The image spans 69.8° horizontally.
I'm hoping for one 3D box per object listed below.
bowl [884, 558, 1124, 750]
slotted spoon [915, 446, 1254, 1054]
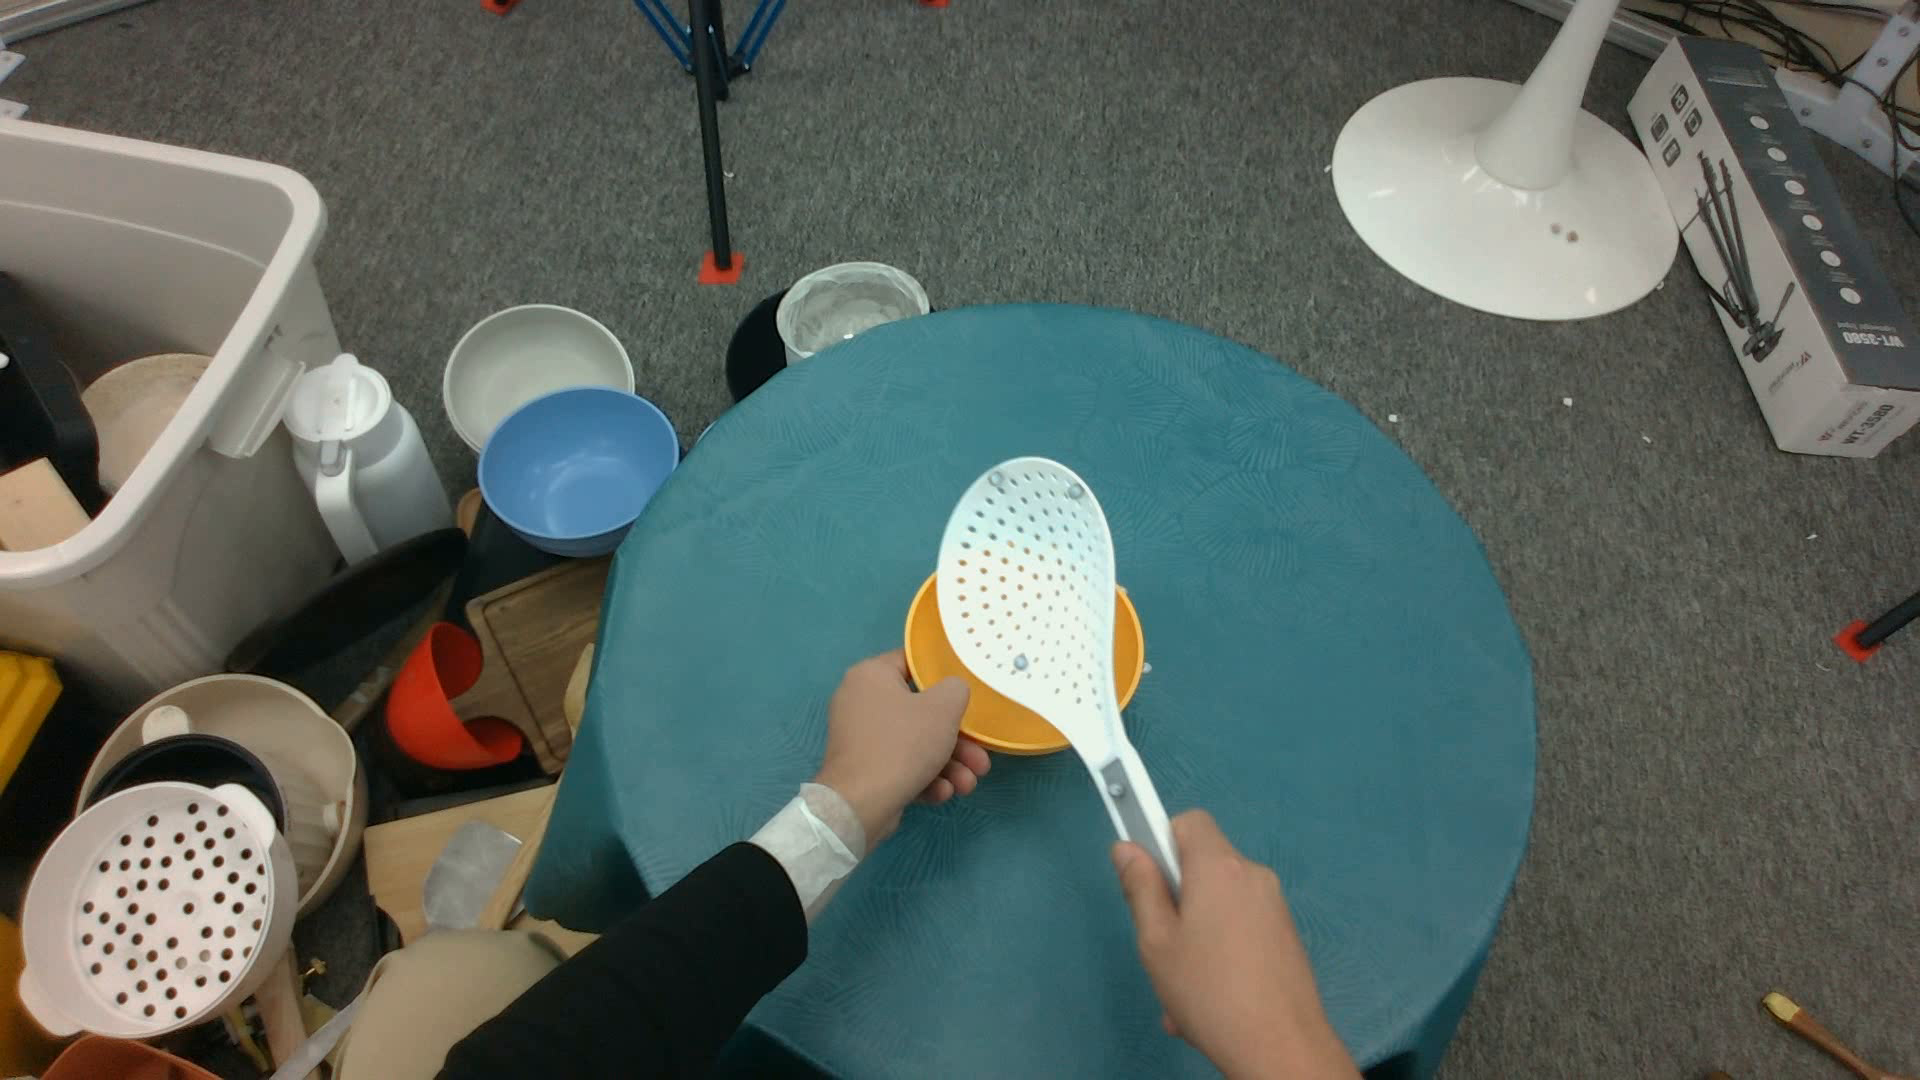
[{"bbox_3d":[0.025,0.073,0.843,0.145,0.060,0.146,2,53,-2],"label":"bowl"},{"bbox_3d":[0.067,0.102,0.742,0.046,0.135,0.351,11,46,-43],"label":"slotted spoon"}]
